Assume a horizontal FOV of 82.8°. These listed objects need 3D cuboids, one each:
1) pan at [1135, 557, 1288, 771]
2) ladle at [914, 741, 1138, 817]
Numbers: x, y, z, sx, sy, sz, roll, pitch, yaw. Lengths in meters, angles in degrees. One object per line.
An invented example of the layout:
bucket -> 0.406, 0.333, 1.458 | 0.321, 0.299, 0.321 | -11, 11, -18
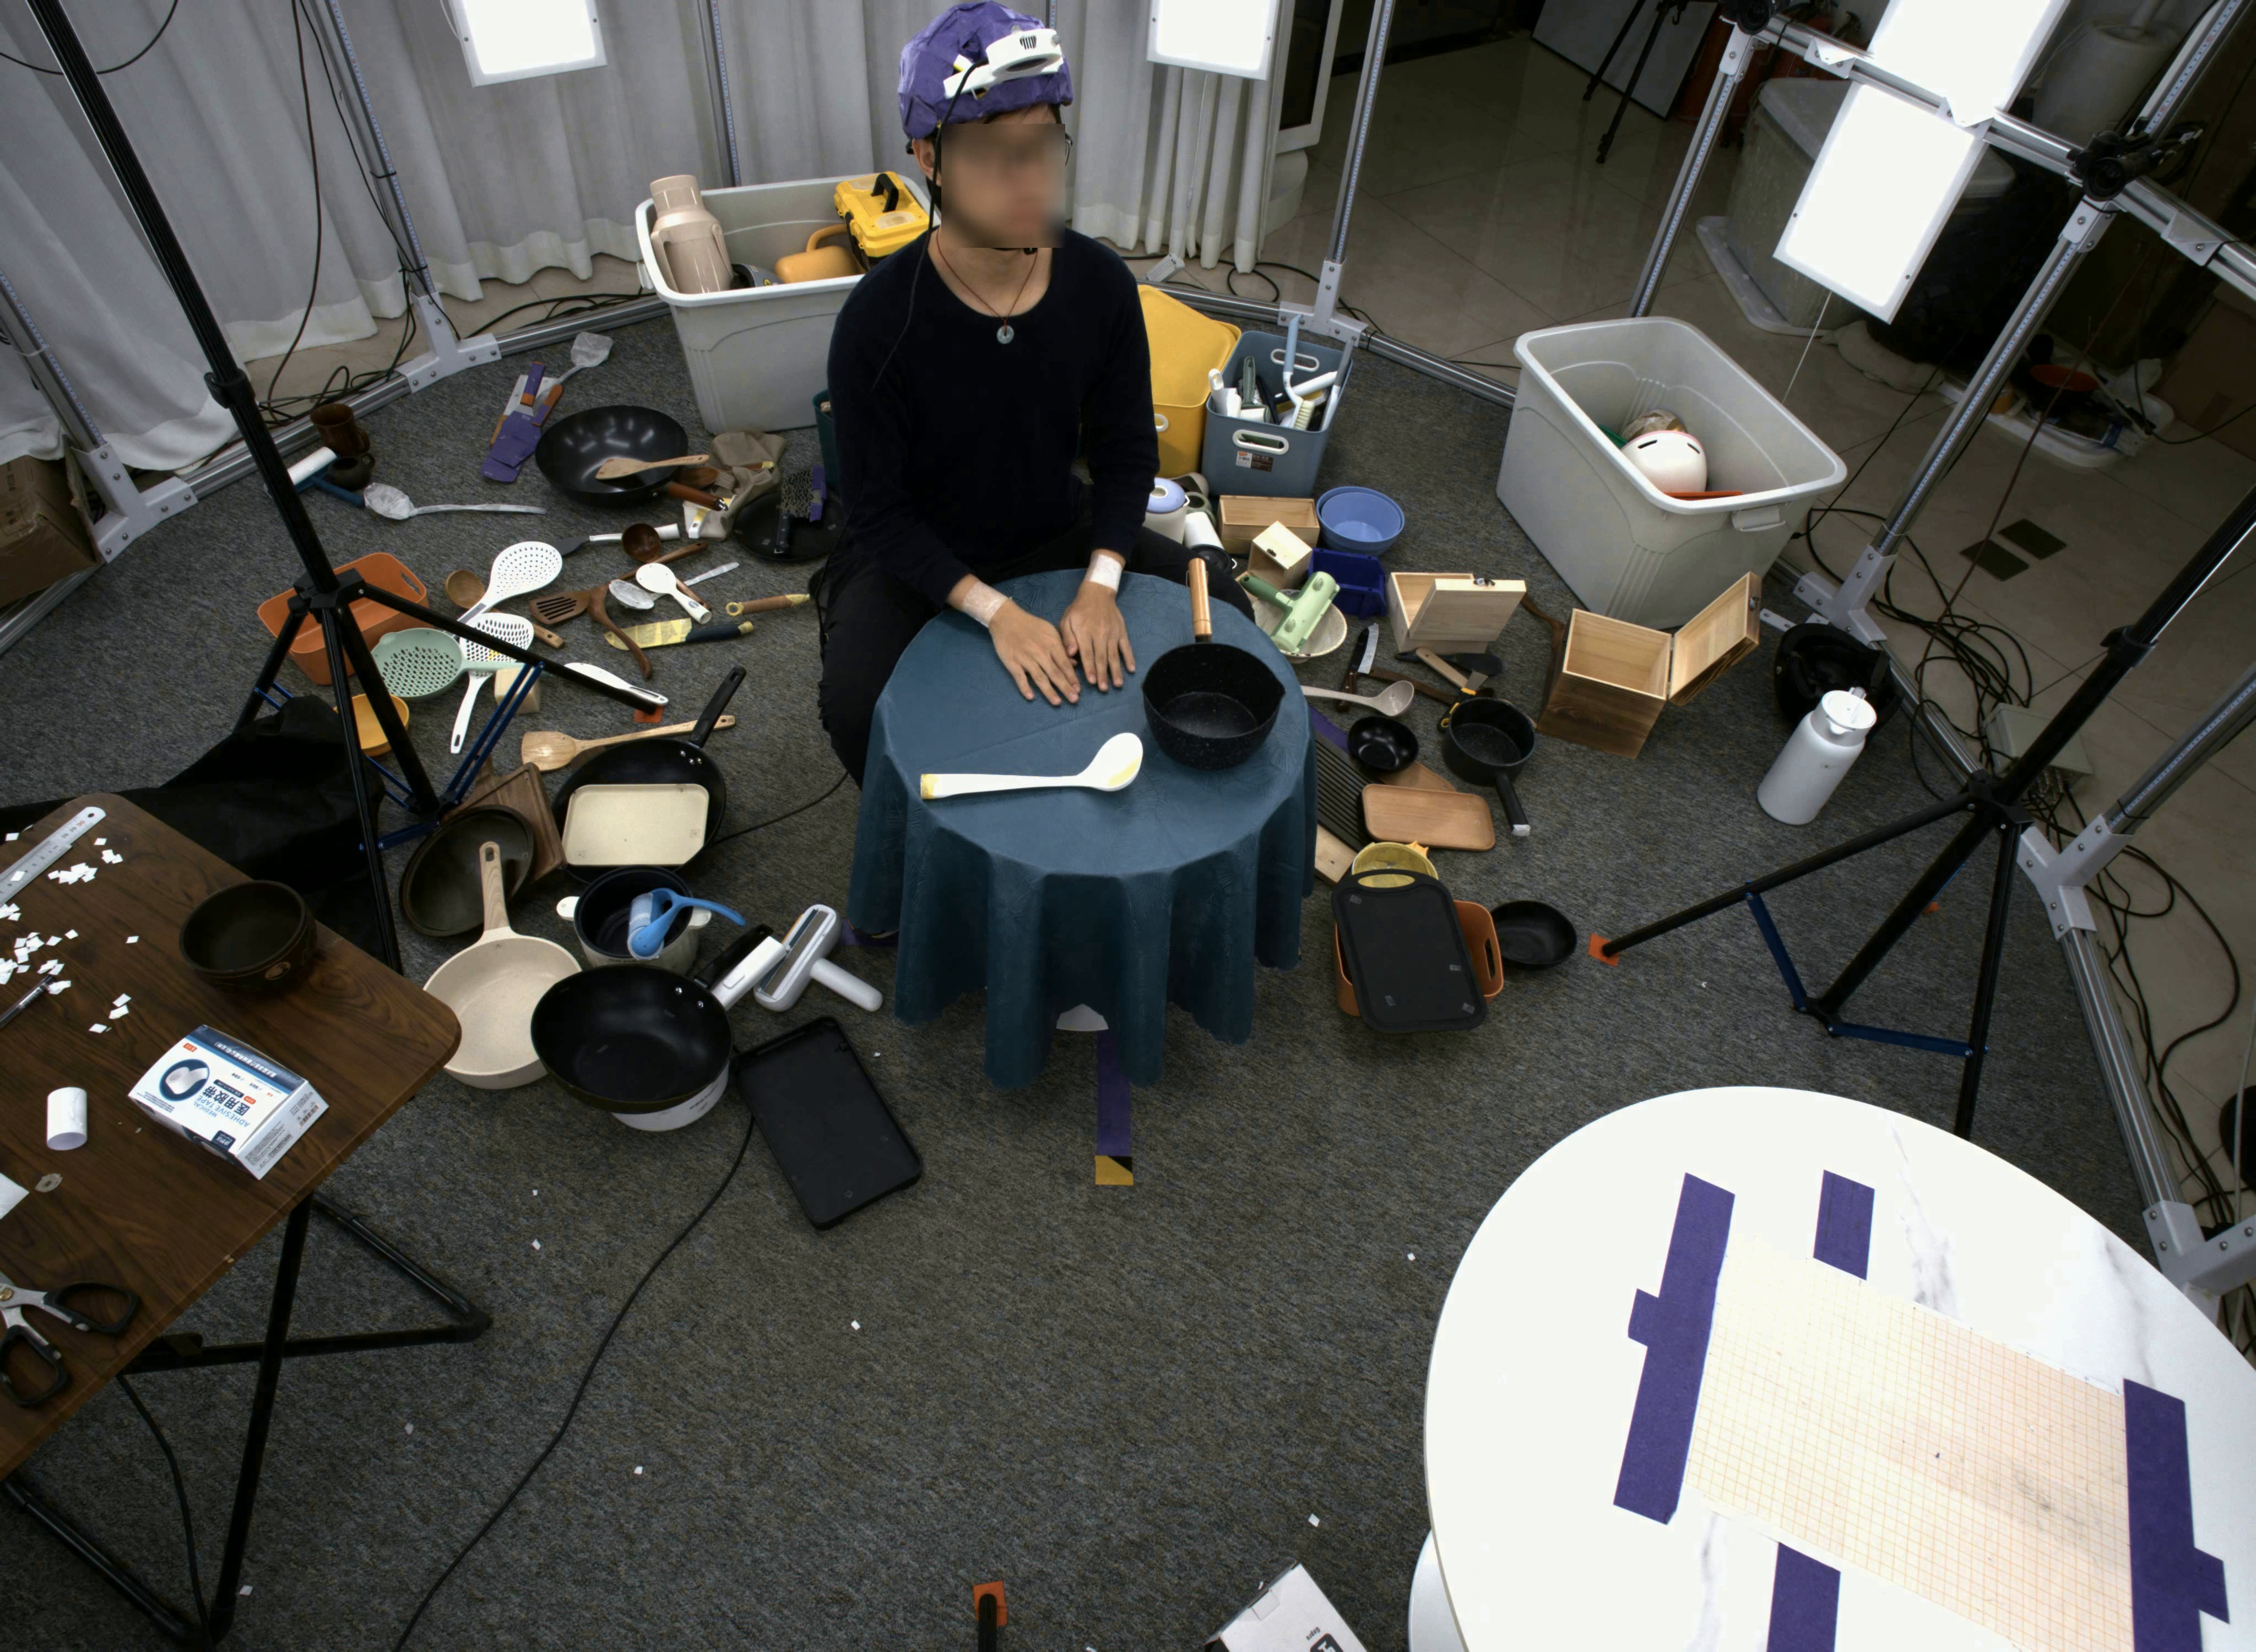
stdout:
pan -> 0.106, -0.228, 1.804 | 0.207, 0.105, 0.351 | -2, 51, -5
ladle -> -0.131, -0.057, 1.668 | 0.292, 0.068, 0.092 | -6, 36, -10
